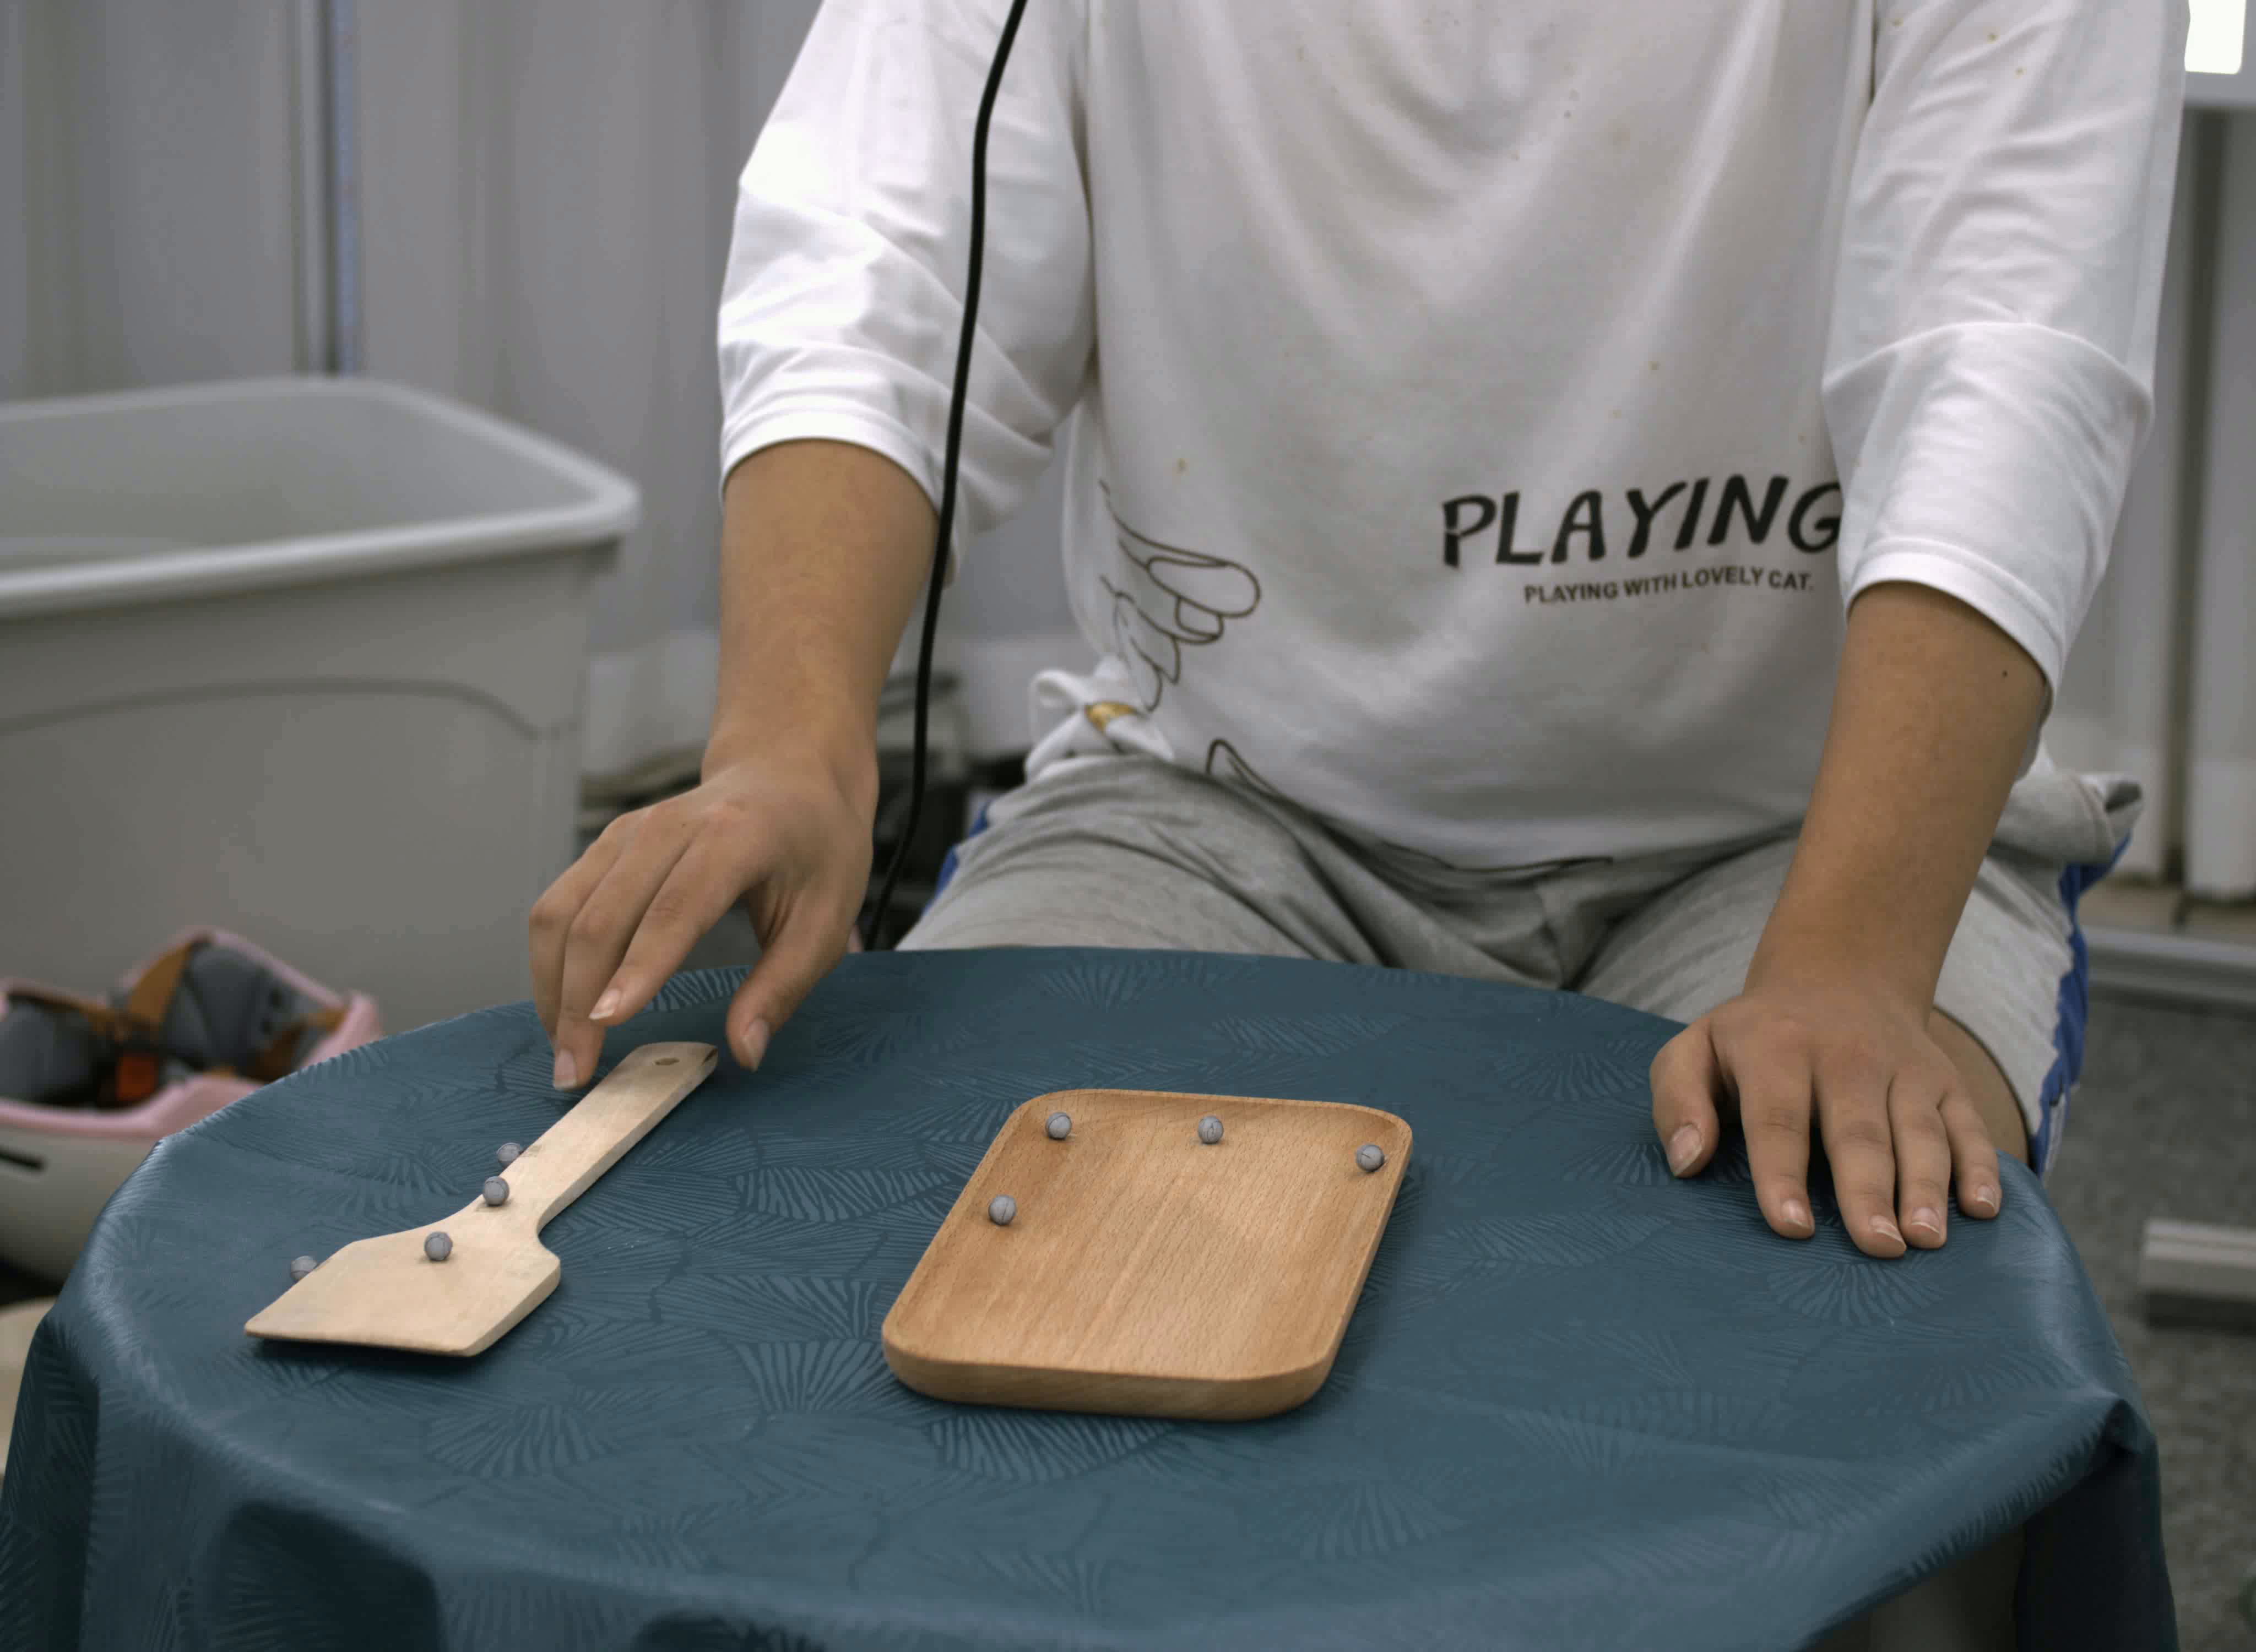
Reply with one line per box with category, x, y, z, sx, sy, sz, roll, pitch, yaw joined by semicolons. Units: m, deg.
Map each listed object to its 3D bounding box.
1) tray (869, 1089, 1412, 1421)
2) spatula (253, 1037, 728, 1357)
tray;0.008;0.124;1.558;0.129;0.023;0.250;1;15;11
spatula;-0.180;0.110;1.611;0.072;0.011;0.293;3;16;14
